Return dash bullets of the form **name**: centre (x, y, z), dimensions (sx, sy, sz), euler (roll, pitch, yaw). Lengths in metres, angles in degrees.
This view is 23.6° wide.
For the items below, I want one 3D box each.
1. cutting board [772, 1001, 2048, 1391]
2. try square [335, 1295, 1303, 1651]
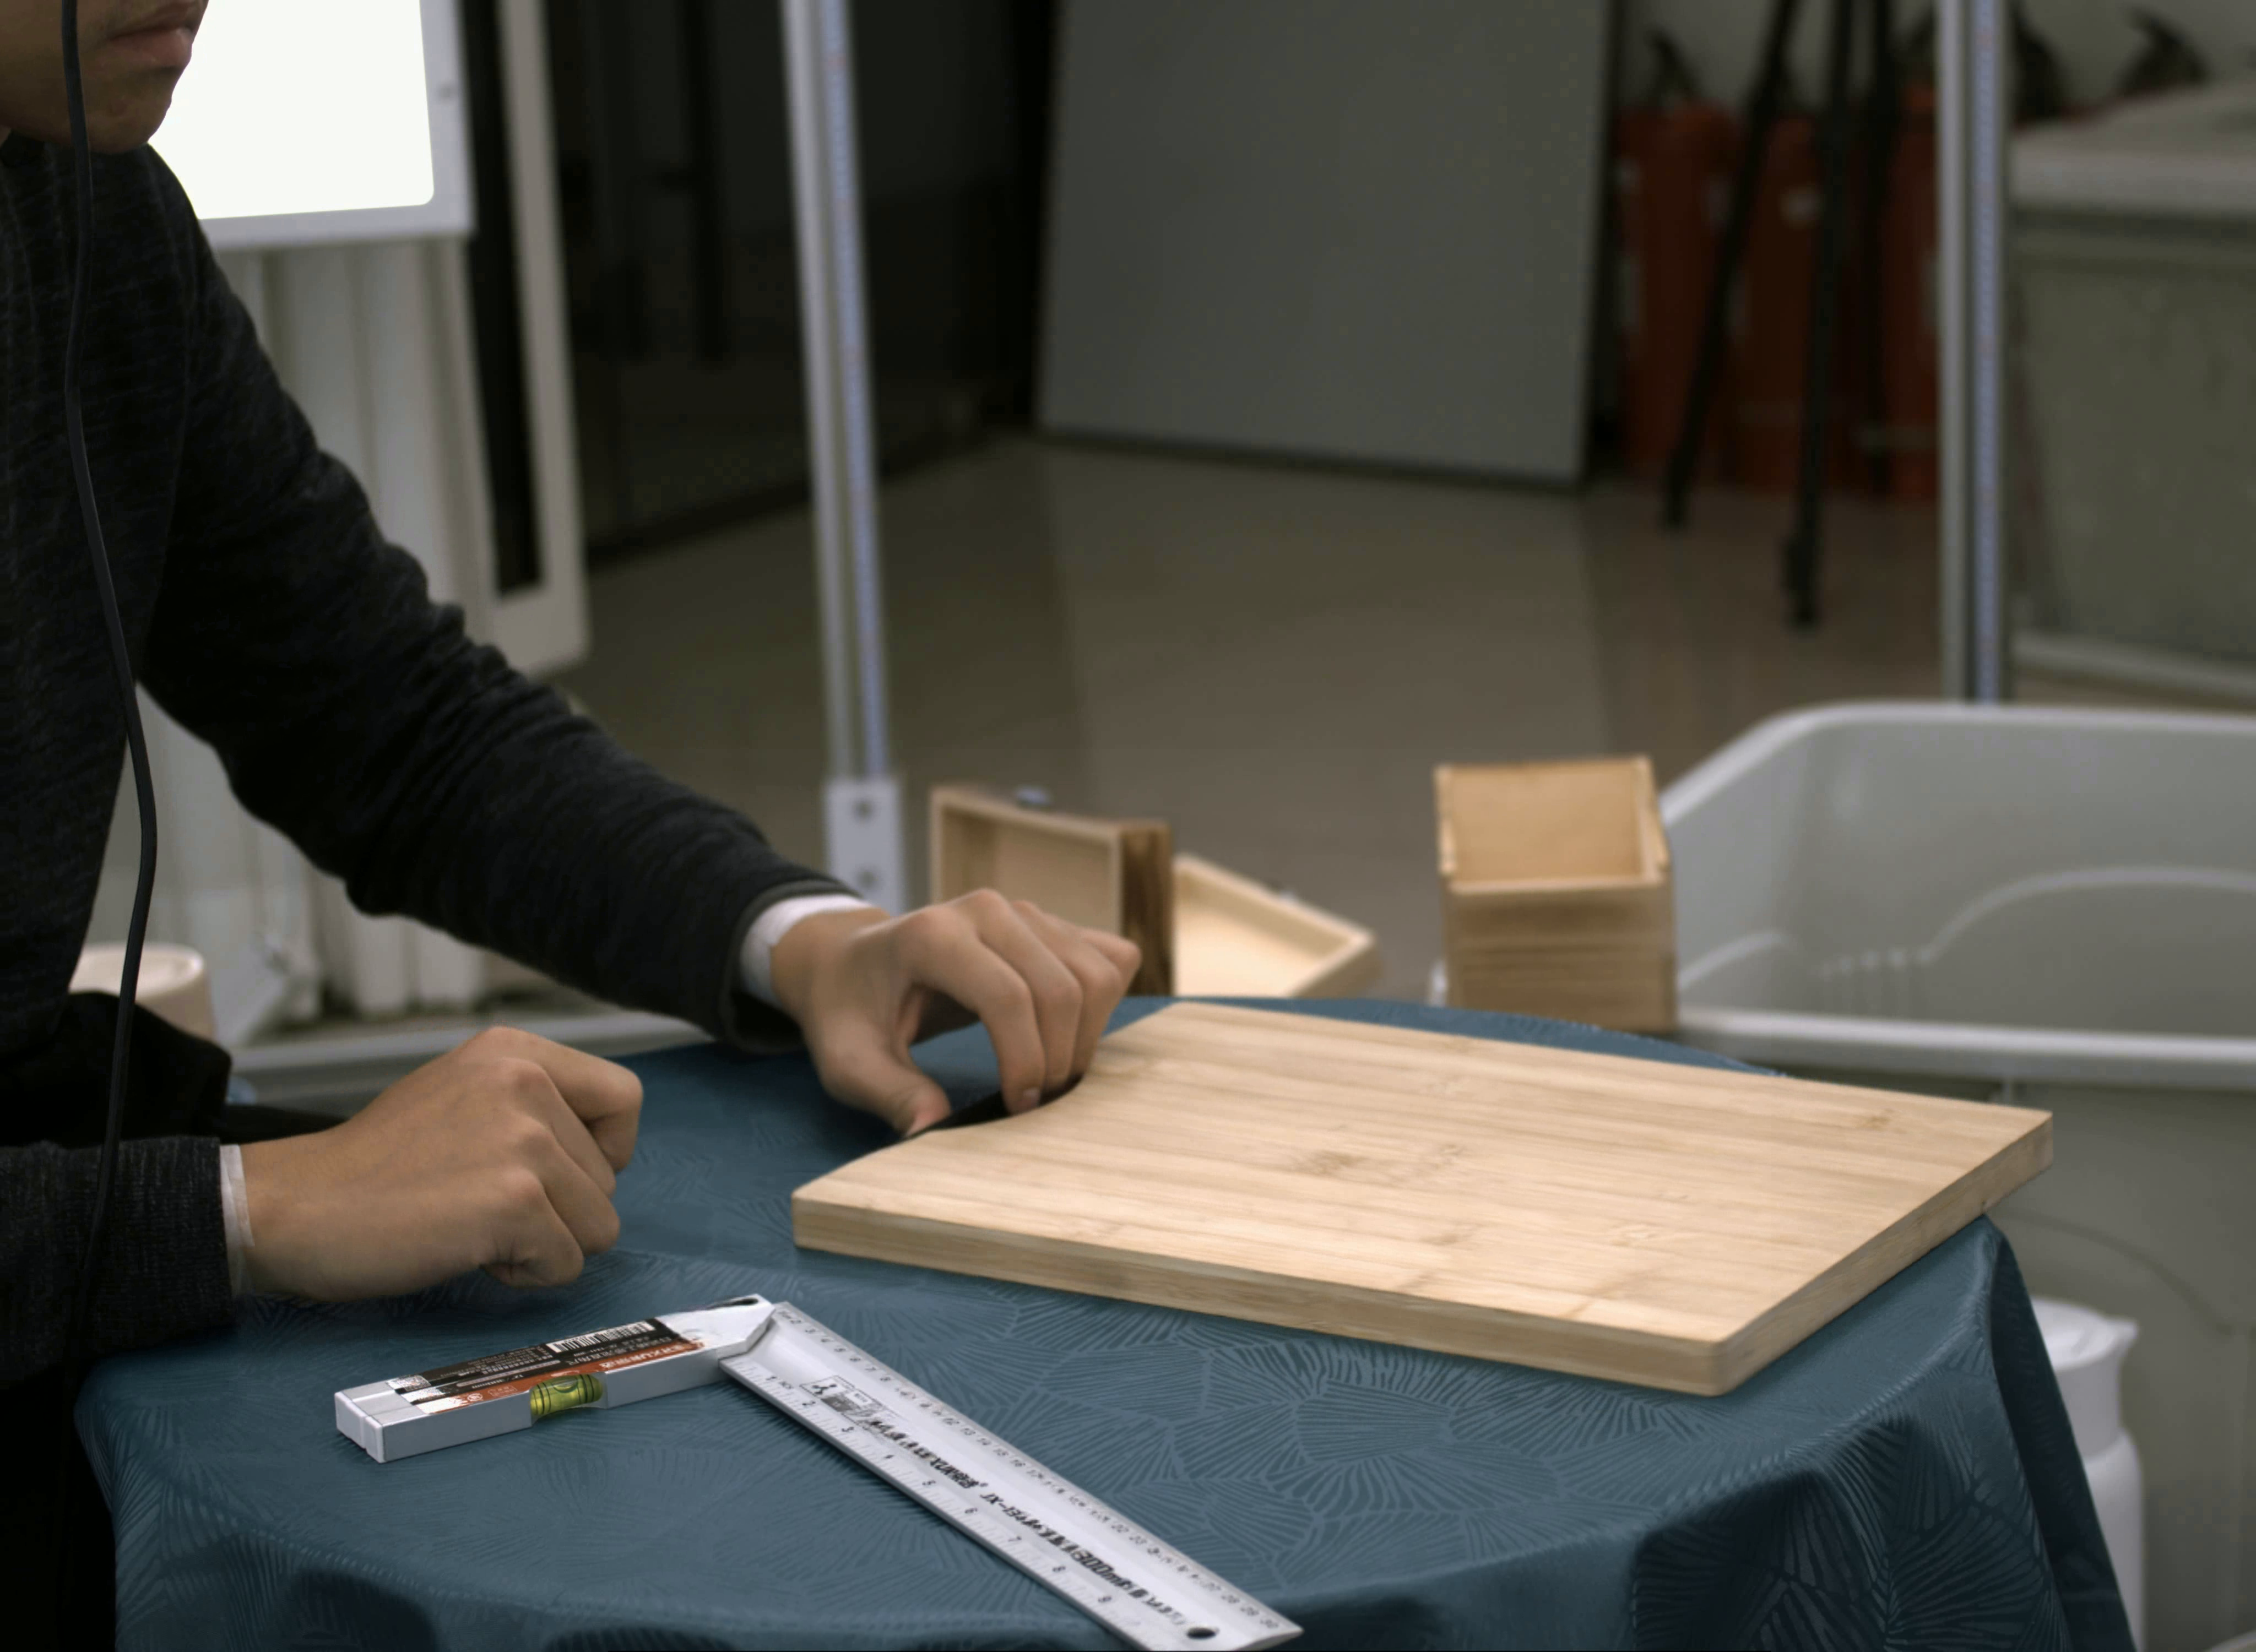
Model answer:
- **cutting board**: centre (0.090, 0.114, 1.738), dimensions (0.350, 0.024, 0.246), euler (5, 17, 34)
- **try square**: centre (-0.094, 0.192, 1.499), dimensions (0.149, 0.016, 0.316), euler (-14, 17, -26)
